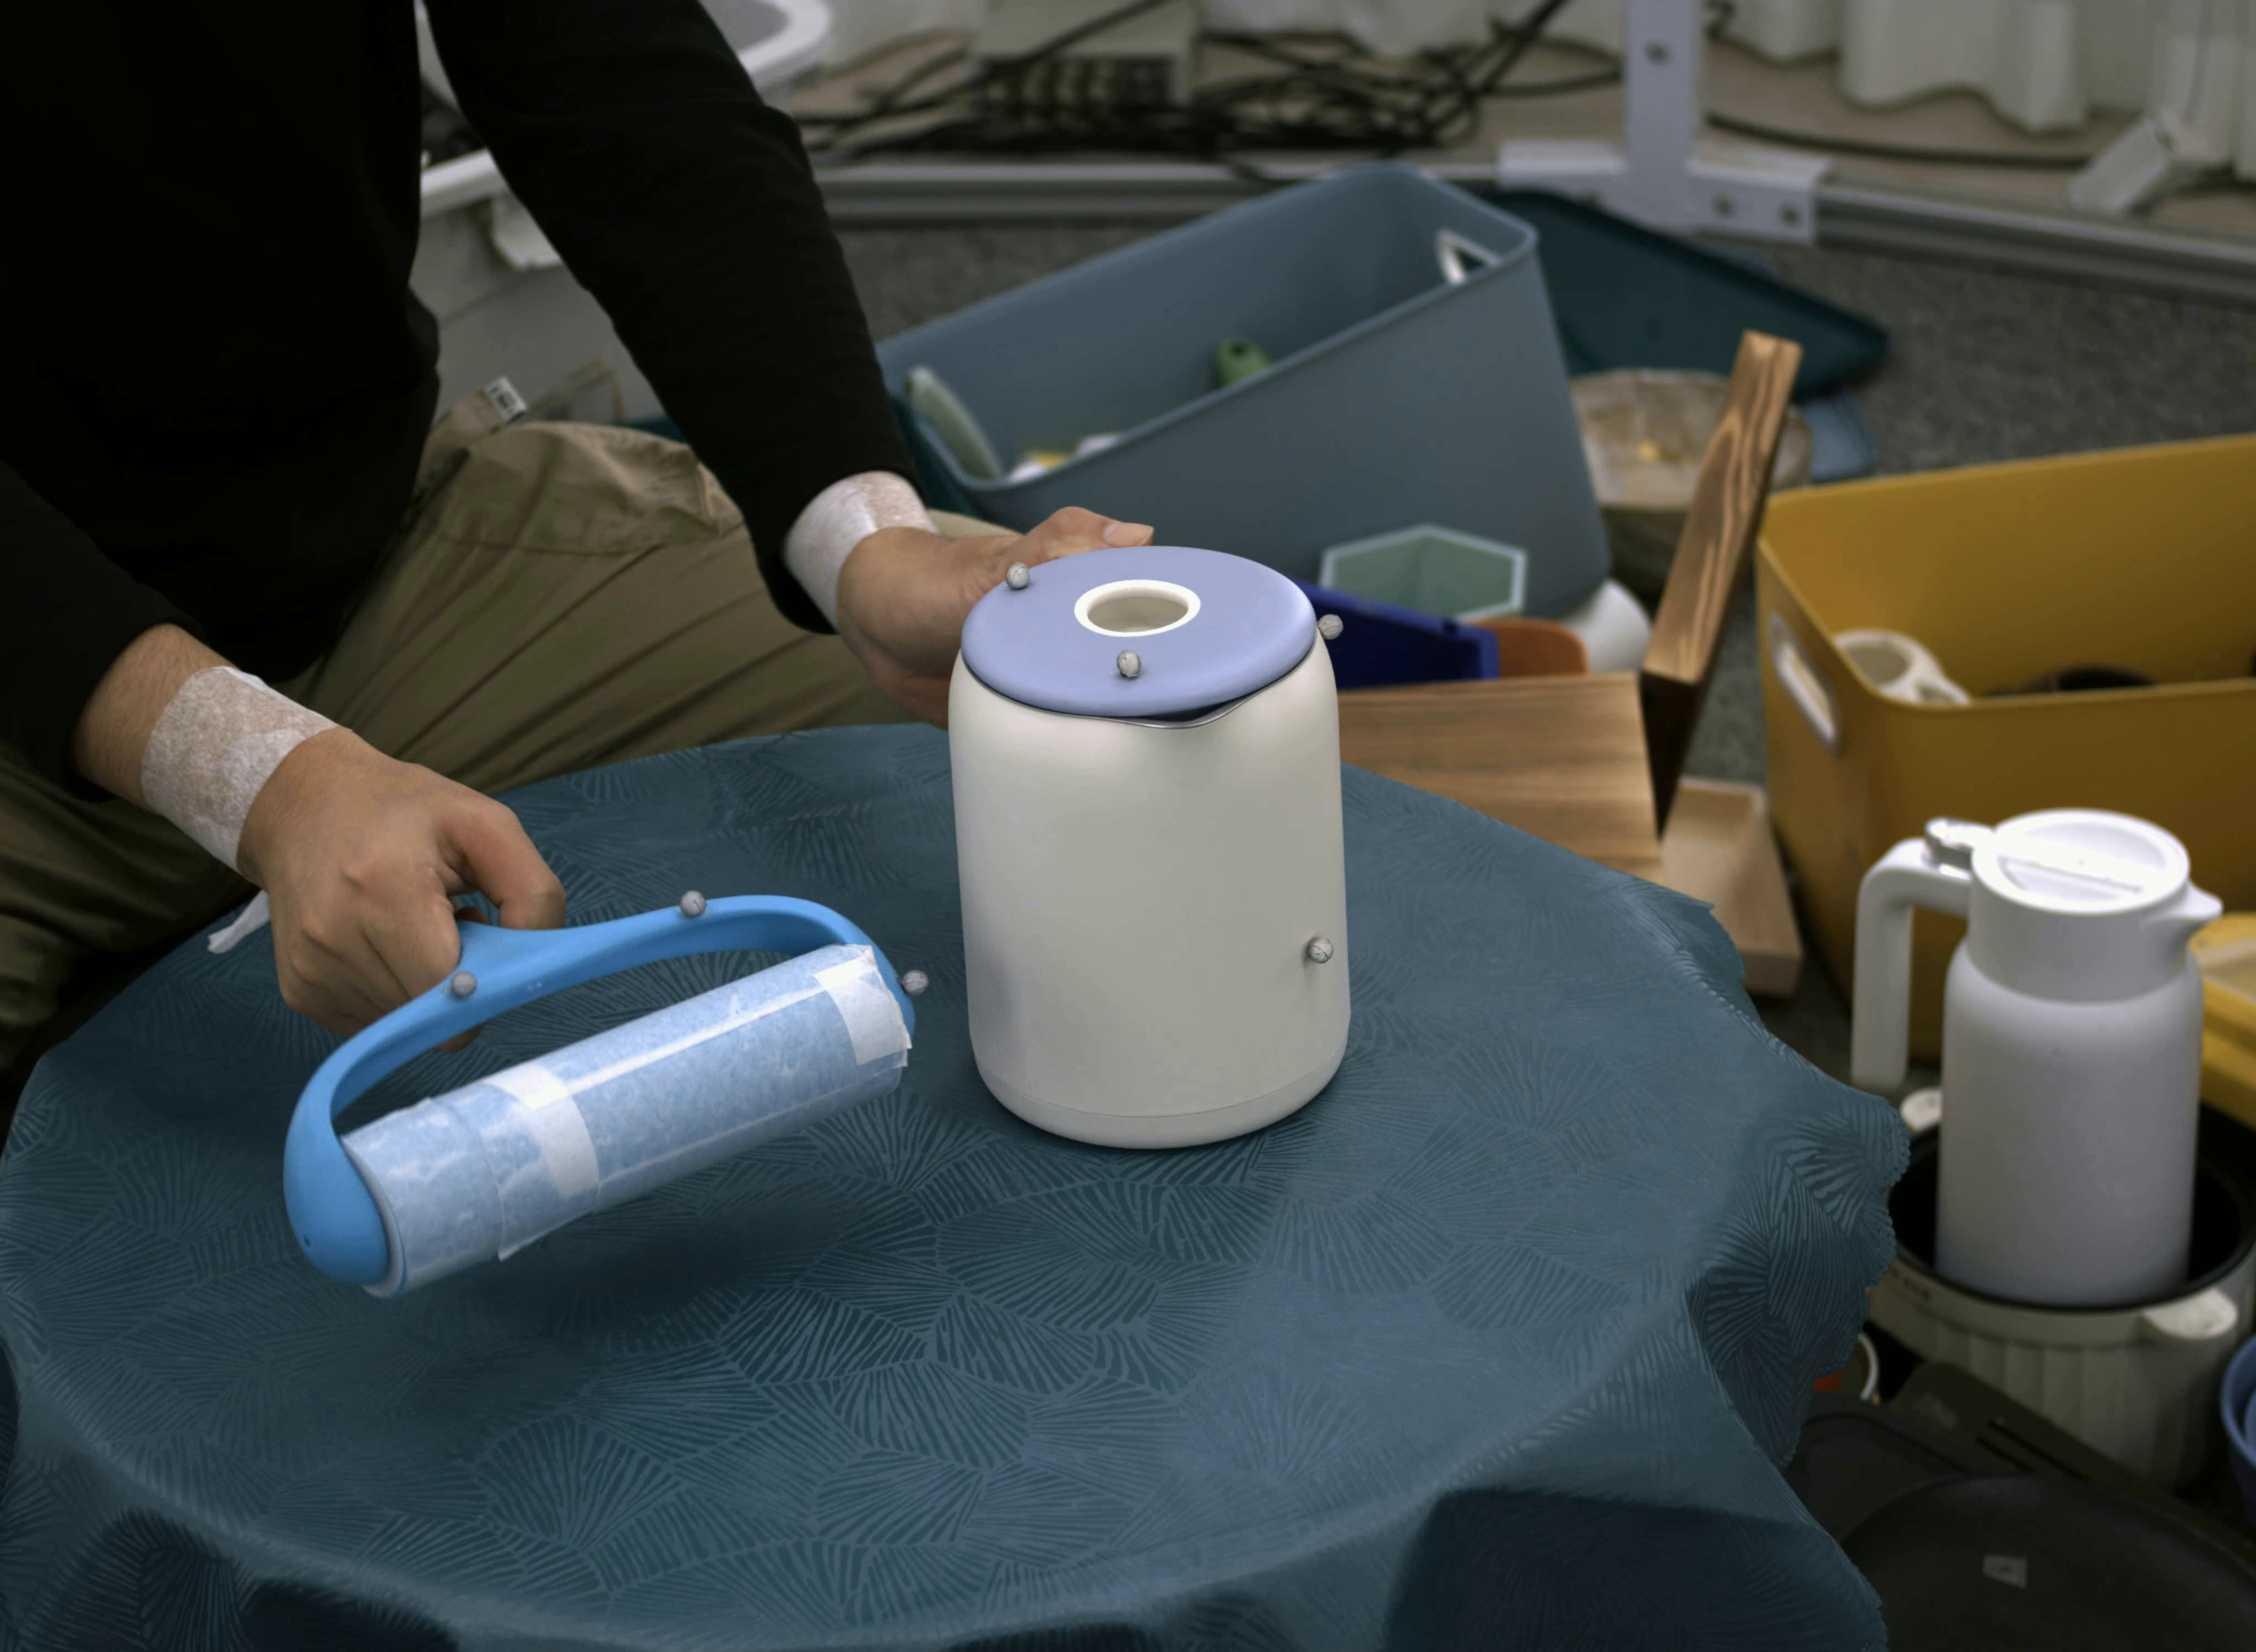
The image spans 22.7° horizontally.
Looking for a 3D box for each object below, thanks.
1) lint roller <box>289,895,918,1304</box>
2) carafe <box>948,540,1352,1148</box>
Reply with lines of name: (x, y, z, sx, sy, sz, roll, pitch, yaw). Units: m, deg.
lint roller: (-0.201, 0.065, 1.825, 0.231, 0.067, 0.181, -24, 44, -34)
carafe: (0.001, -0.005, 1.920, 0.132, 0.181, 0.193, -9, 26, -13)
